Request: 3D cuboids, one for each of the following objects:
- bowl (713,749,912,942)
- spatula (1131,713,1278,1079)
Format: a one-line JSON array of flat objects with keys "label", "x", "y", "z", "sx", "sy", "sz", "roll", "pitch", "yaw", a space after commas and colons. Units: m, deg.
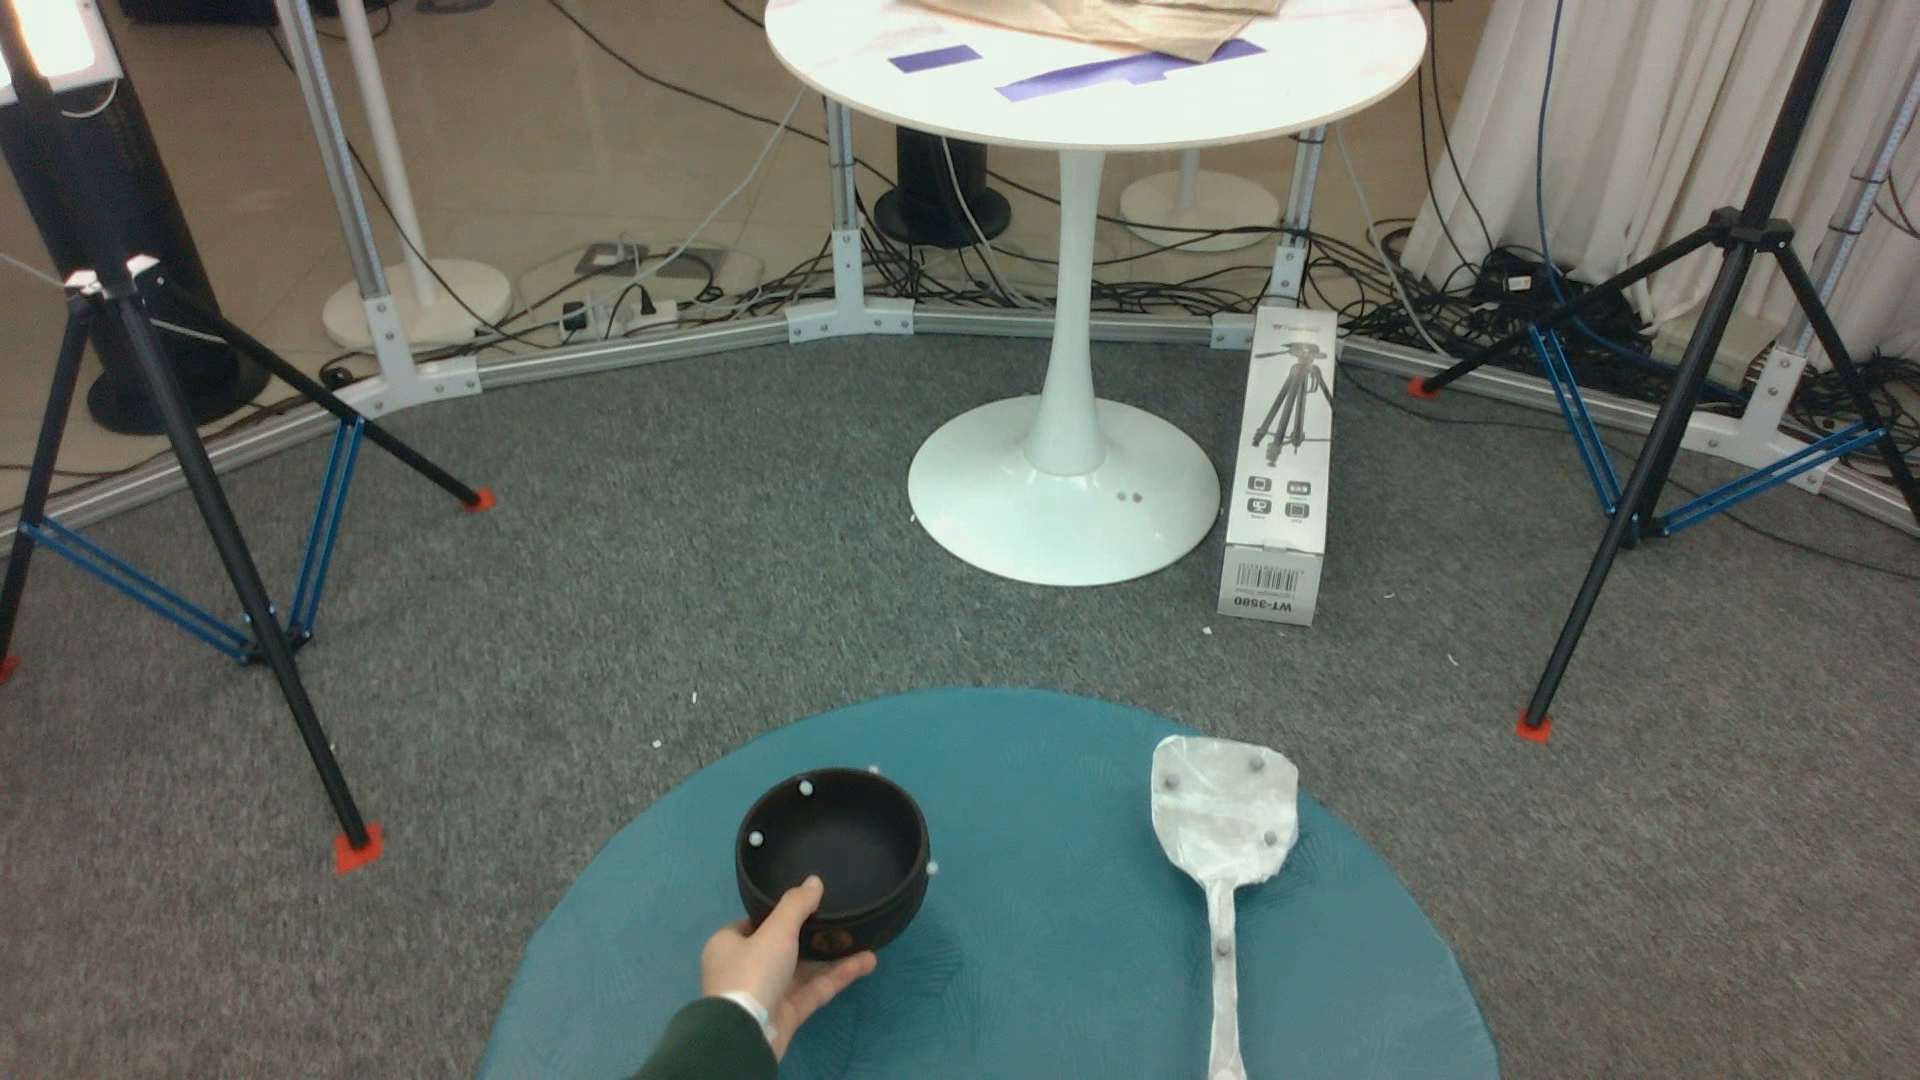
[{"label": "bowl", "x": -0.088, "y": 0.193, "z": 0.836, "sx": 0.118, "sy": 0.069, "sz": 0.118, "roll": -1, "pitch": 39, "yaw": 1}, {"label": "spatula", "x": 0.141, "y": 0.241, "z": 0.805, "sx": 0.098, "sy": 0.044, "sz": 0.366, "roll": 11, "pitch": 35, "yaw": 3}]
